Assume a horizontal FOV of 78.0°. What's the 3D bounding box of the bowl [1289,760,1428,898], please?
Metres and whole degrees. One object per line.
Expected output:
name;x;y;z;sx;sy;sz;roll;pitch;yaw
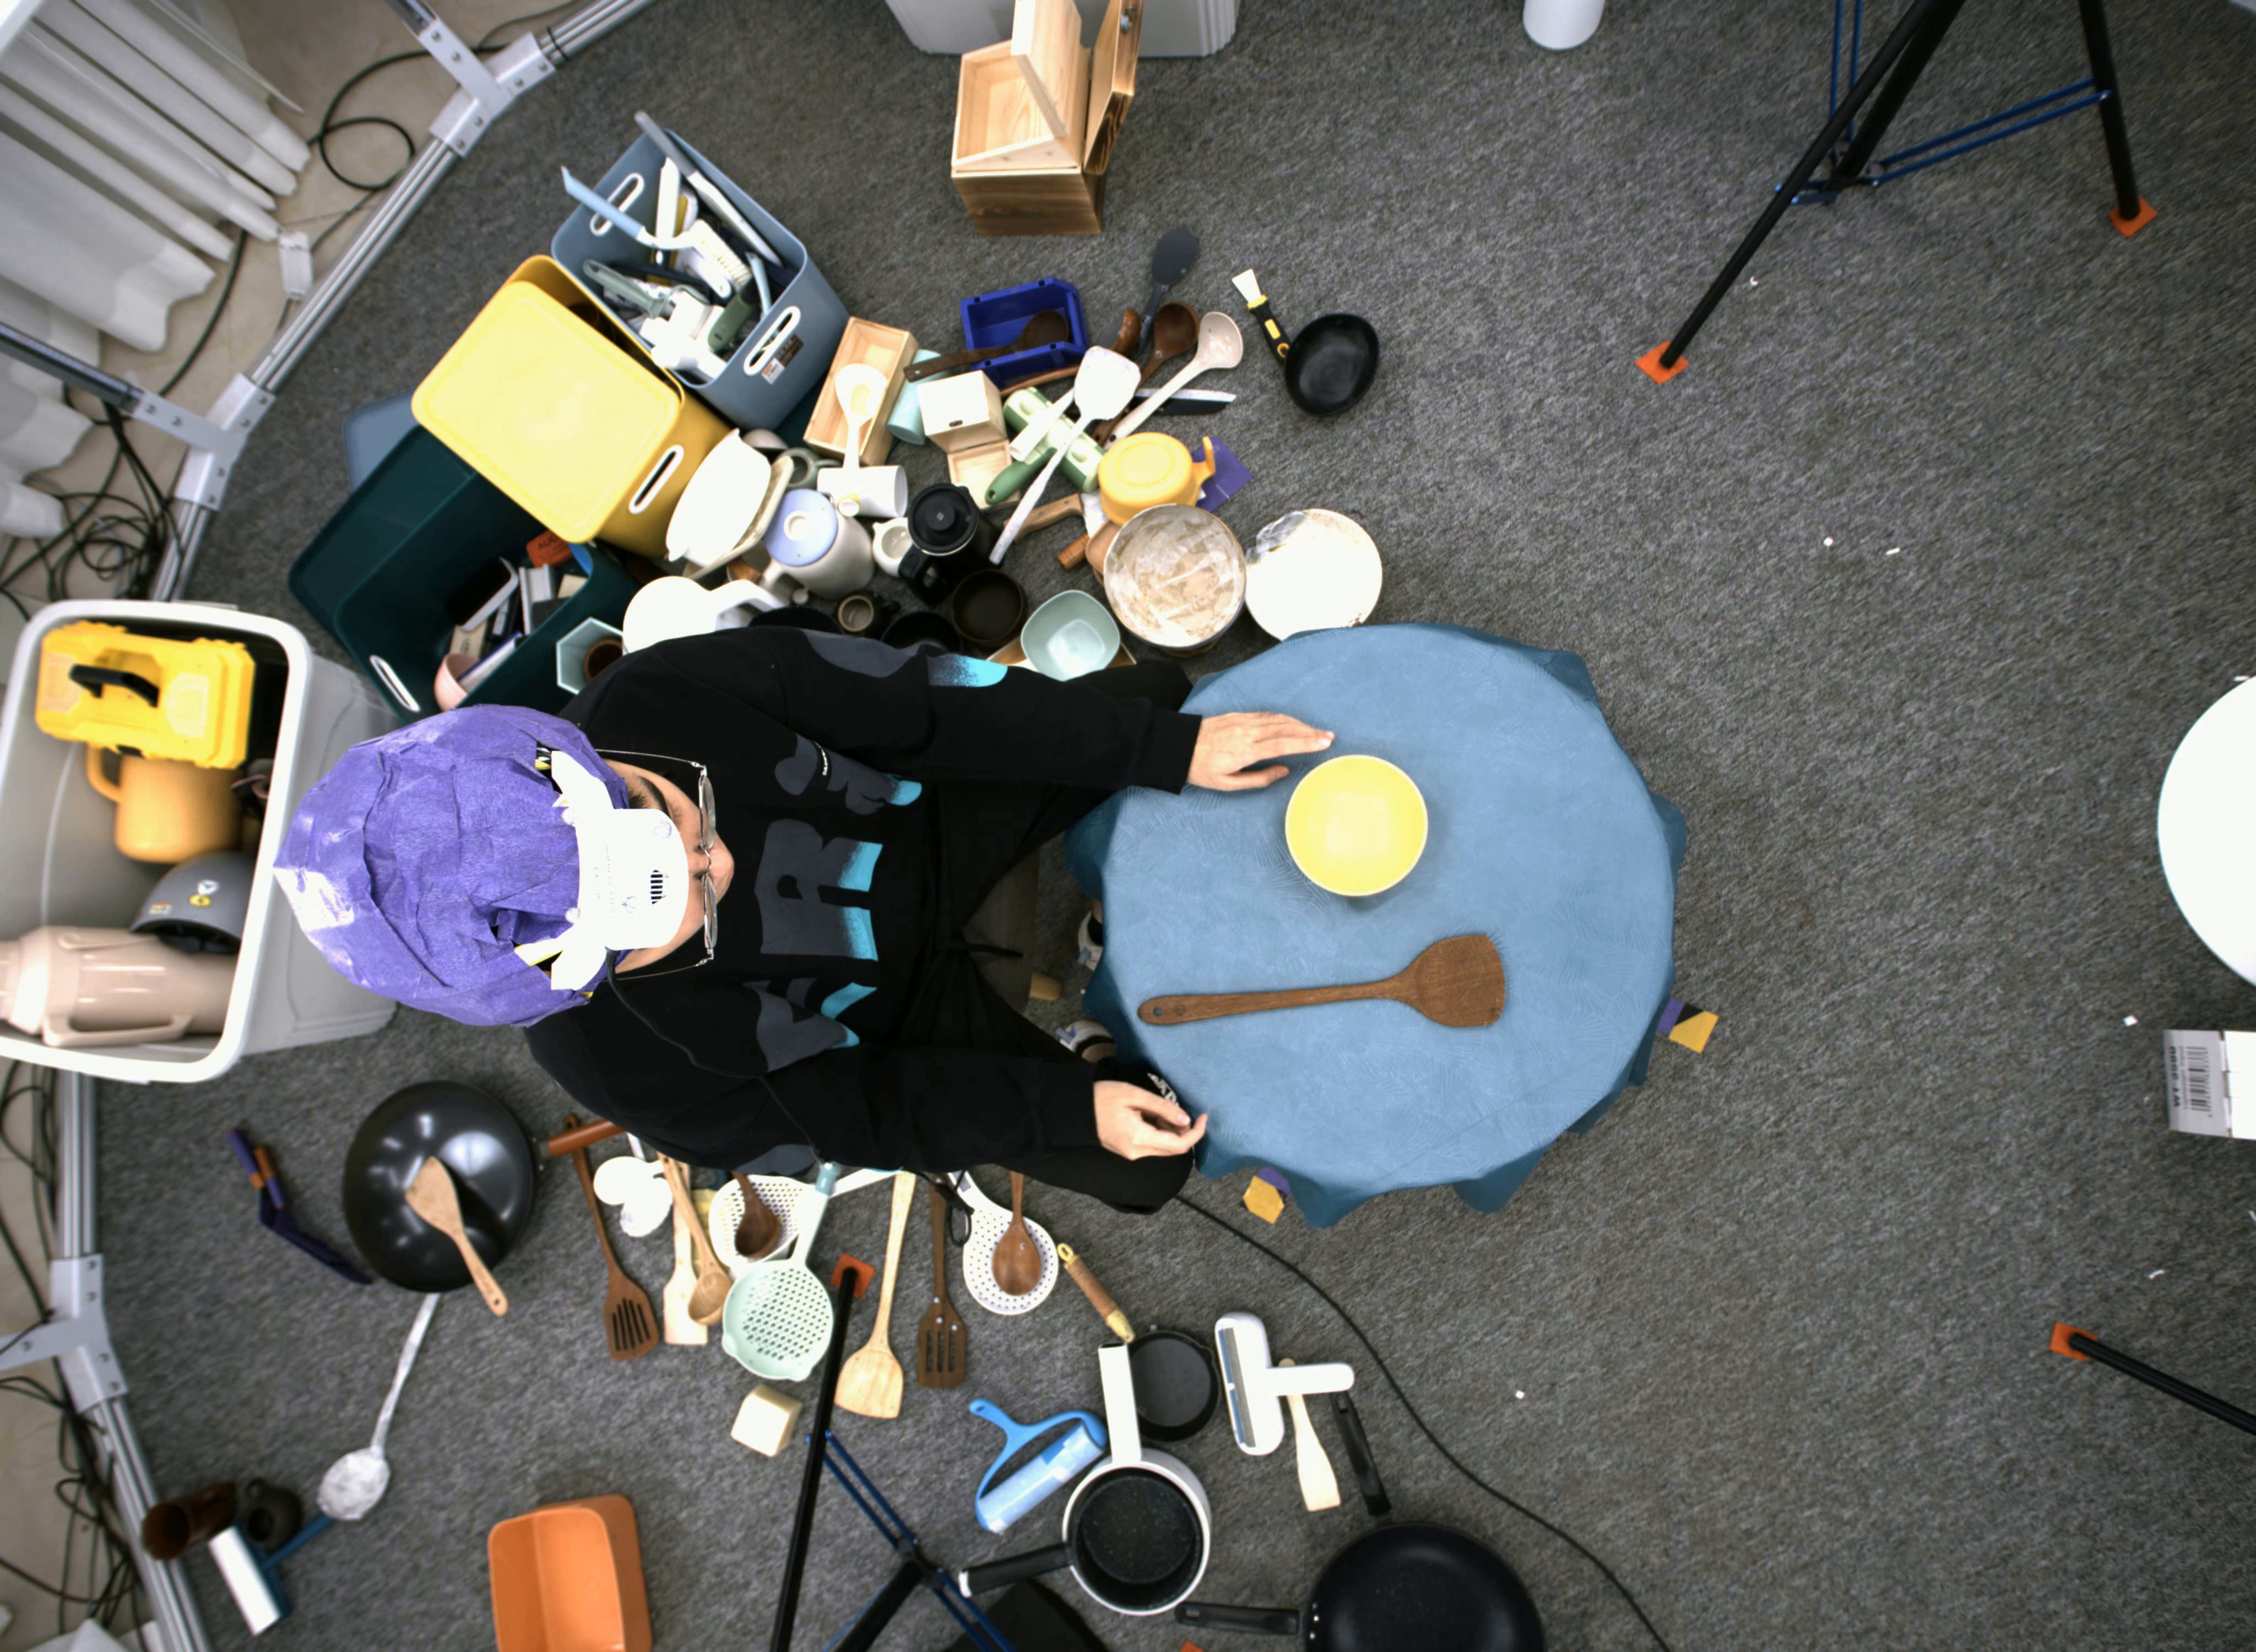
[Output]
bowl;0.242;0.006;1.447;0.146;0.060;0.144;-2;83;11

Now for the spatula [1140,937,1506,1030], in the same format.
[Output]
spatula;0.202;0.182;1.463;0.388;0.016;0.095;-7;84;10
